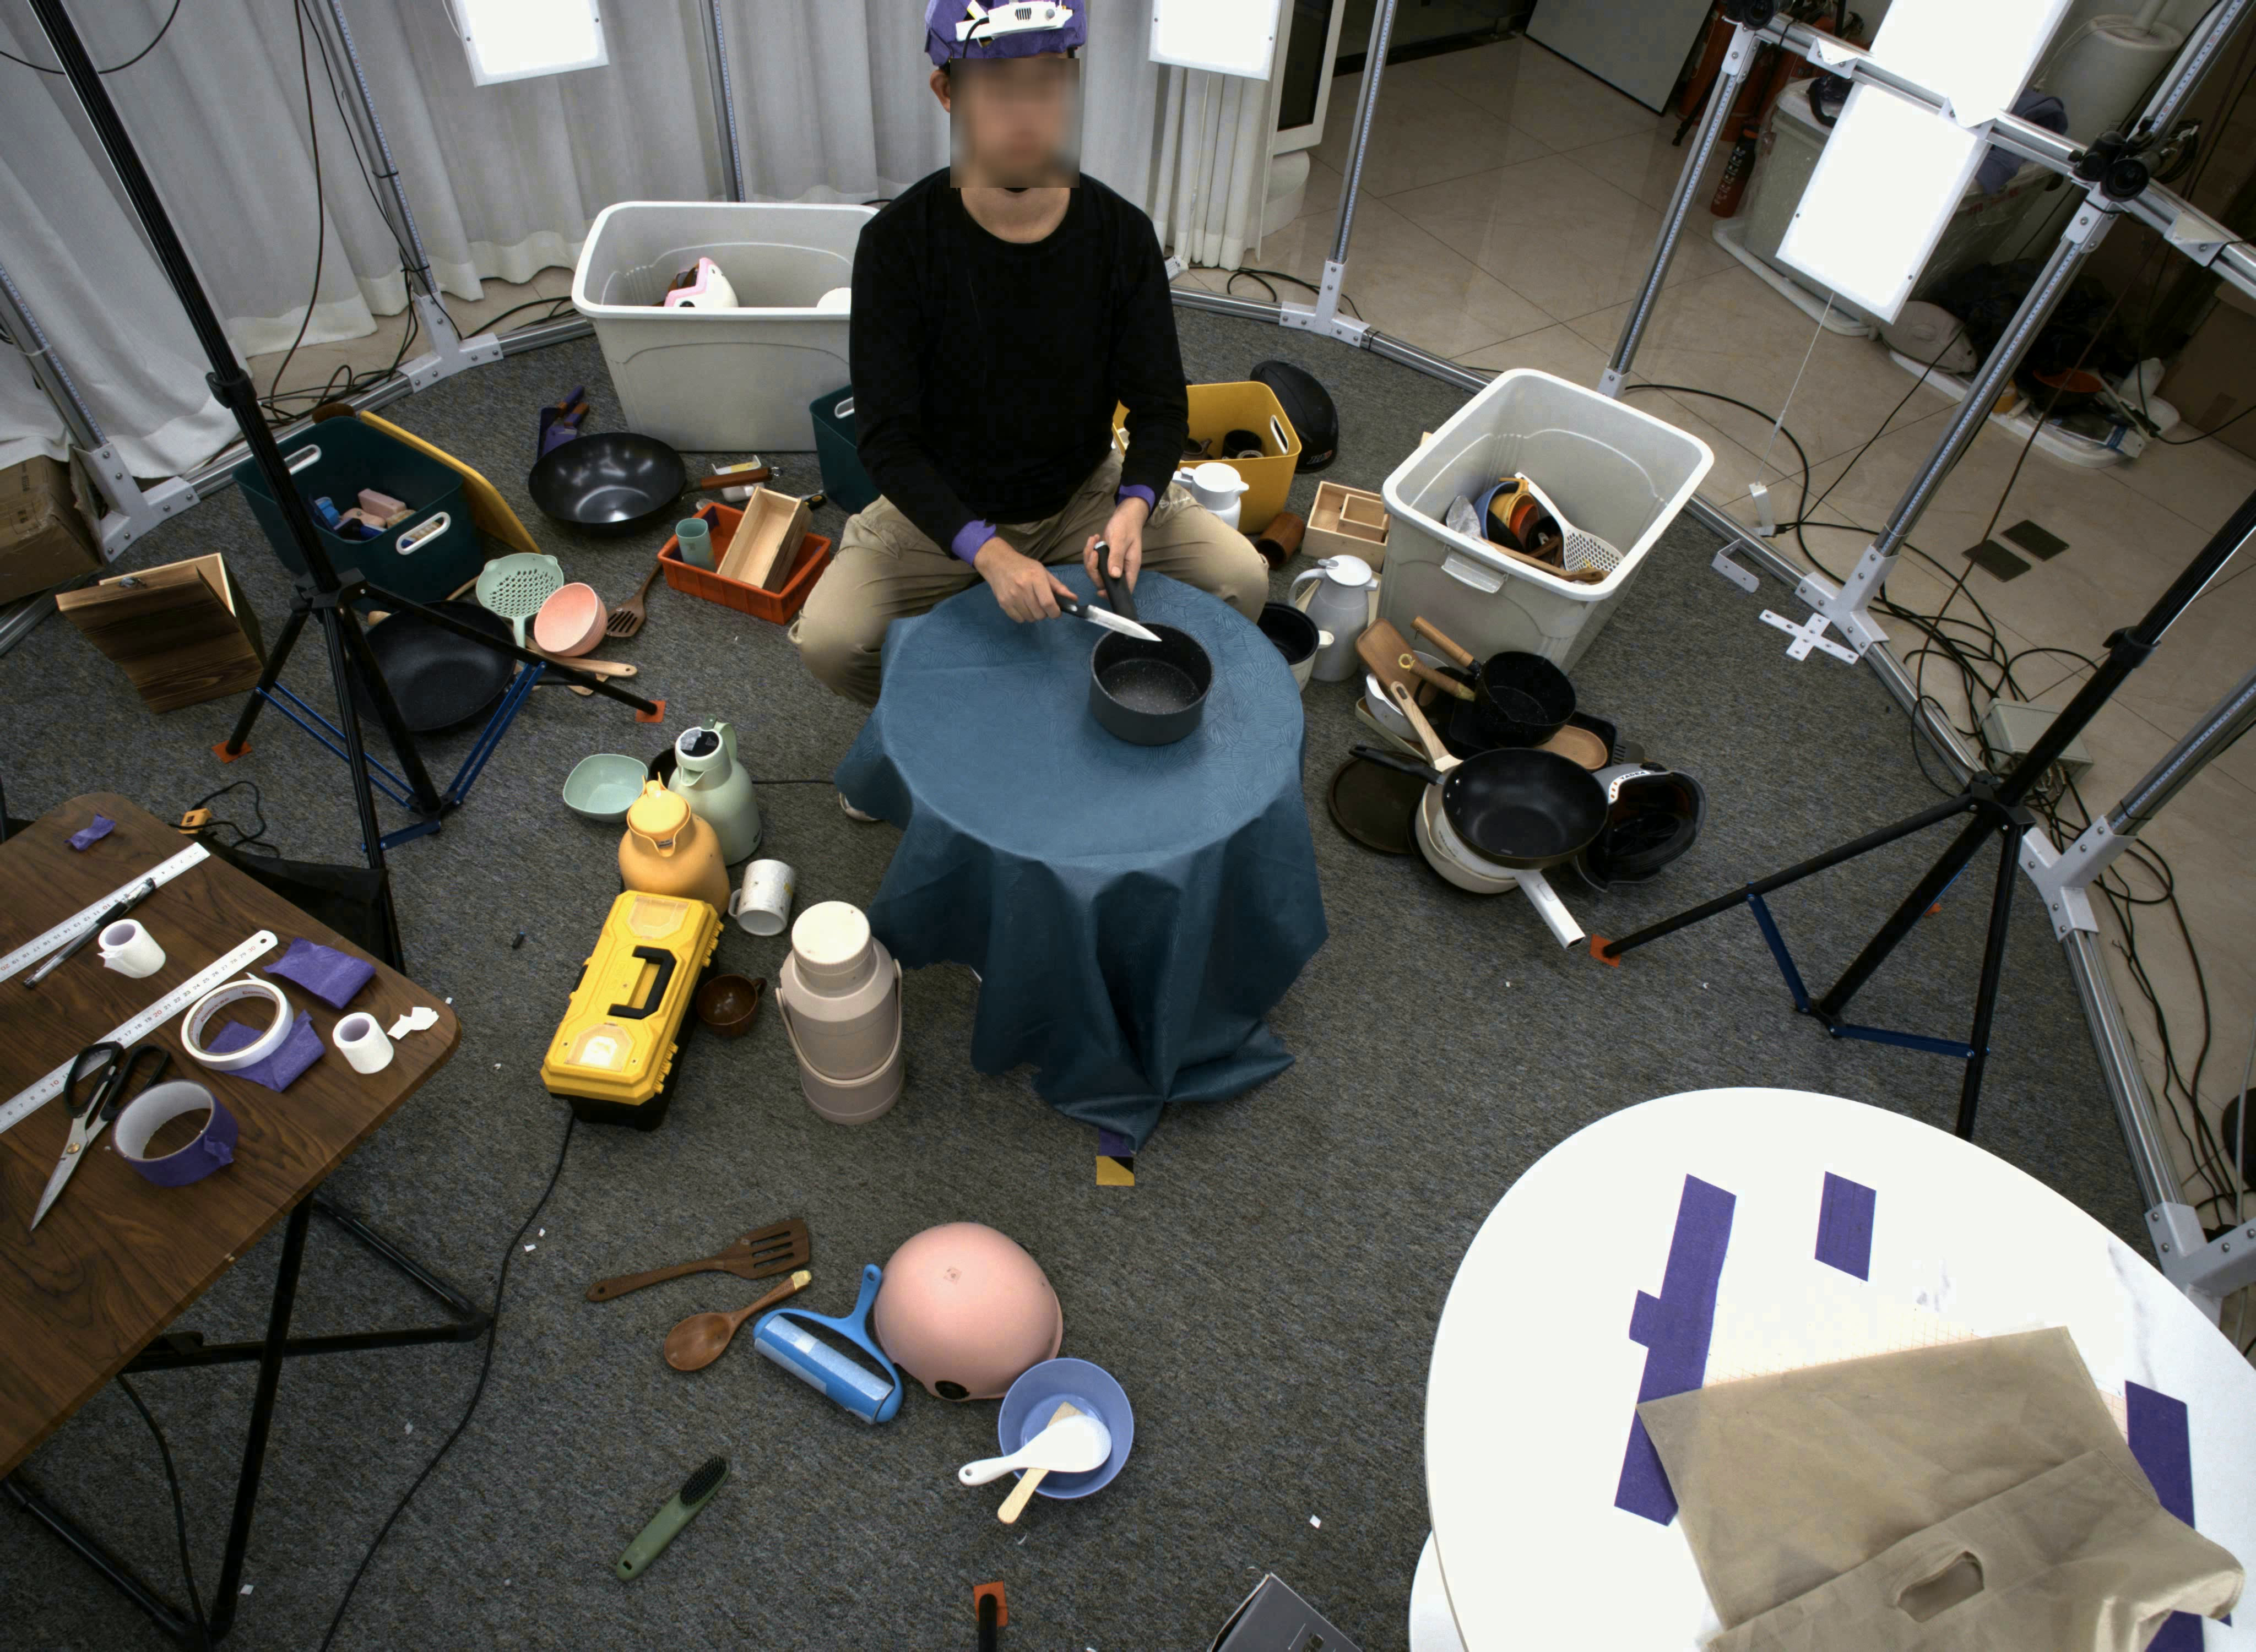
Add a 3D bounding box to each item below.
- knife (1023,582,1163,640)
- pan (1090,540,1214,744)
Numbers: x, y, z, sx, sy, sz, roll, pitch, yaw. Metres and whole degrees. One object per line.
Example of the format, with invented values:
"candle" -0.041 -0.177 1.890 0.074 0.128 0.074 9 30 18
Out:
"knife" -0.052 -0.299 1.812 0.241 0.016 0.024 24 87 25
"pan" 0.011 -0.263 1.829 0.172 0.084 0.336 -8 55 -13
